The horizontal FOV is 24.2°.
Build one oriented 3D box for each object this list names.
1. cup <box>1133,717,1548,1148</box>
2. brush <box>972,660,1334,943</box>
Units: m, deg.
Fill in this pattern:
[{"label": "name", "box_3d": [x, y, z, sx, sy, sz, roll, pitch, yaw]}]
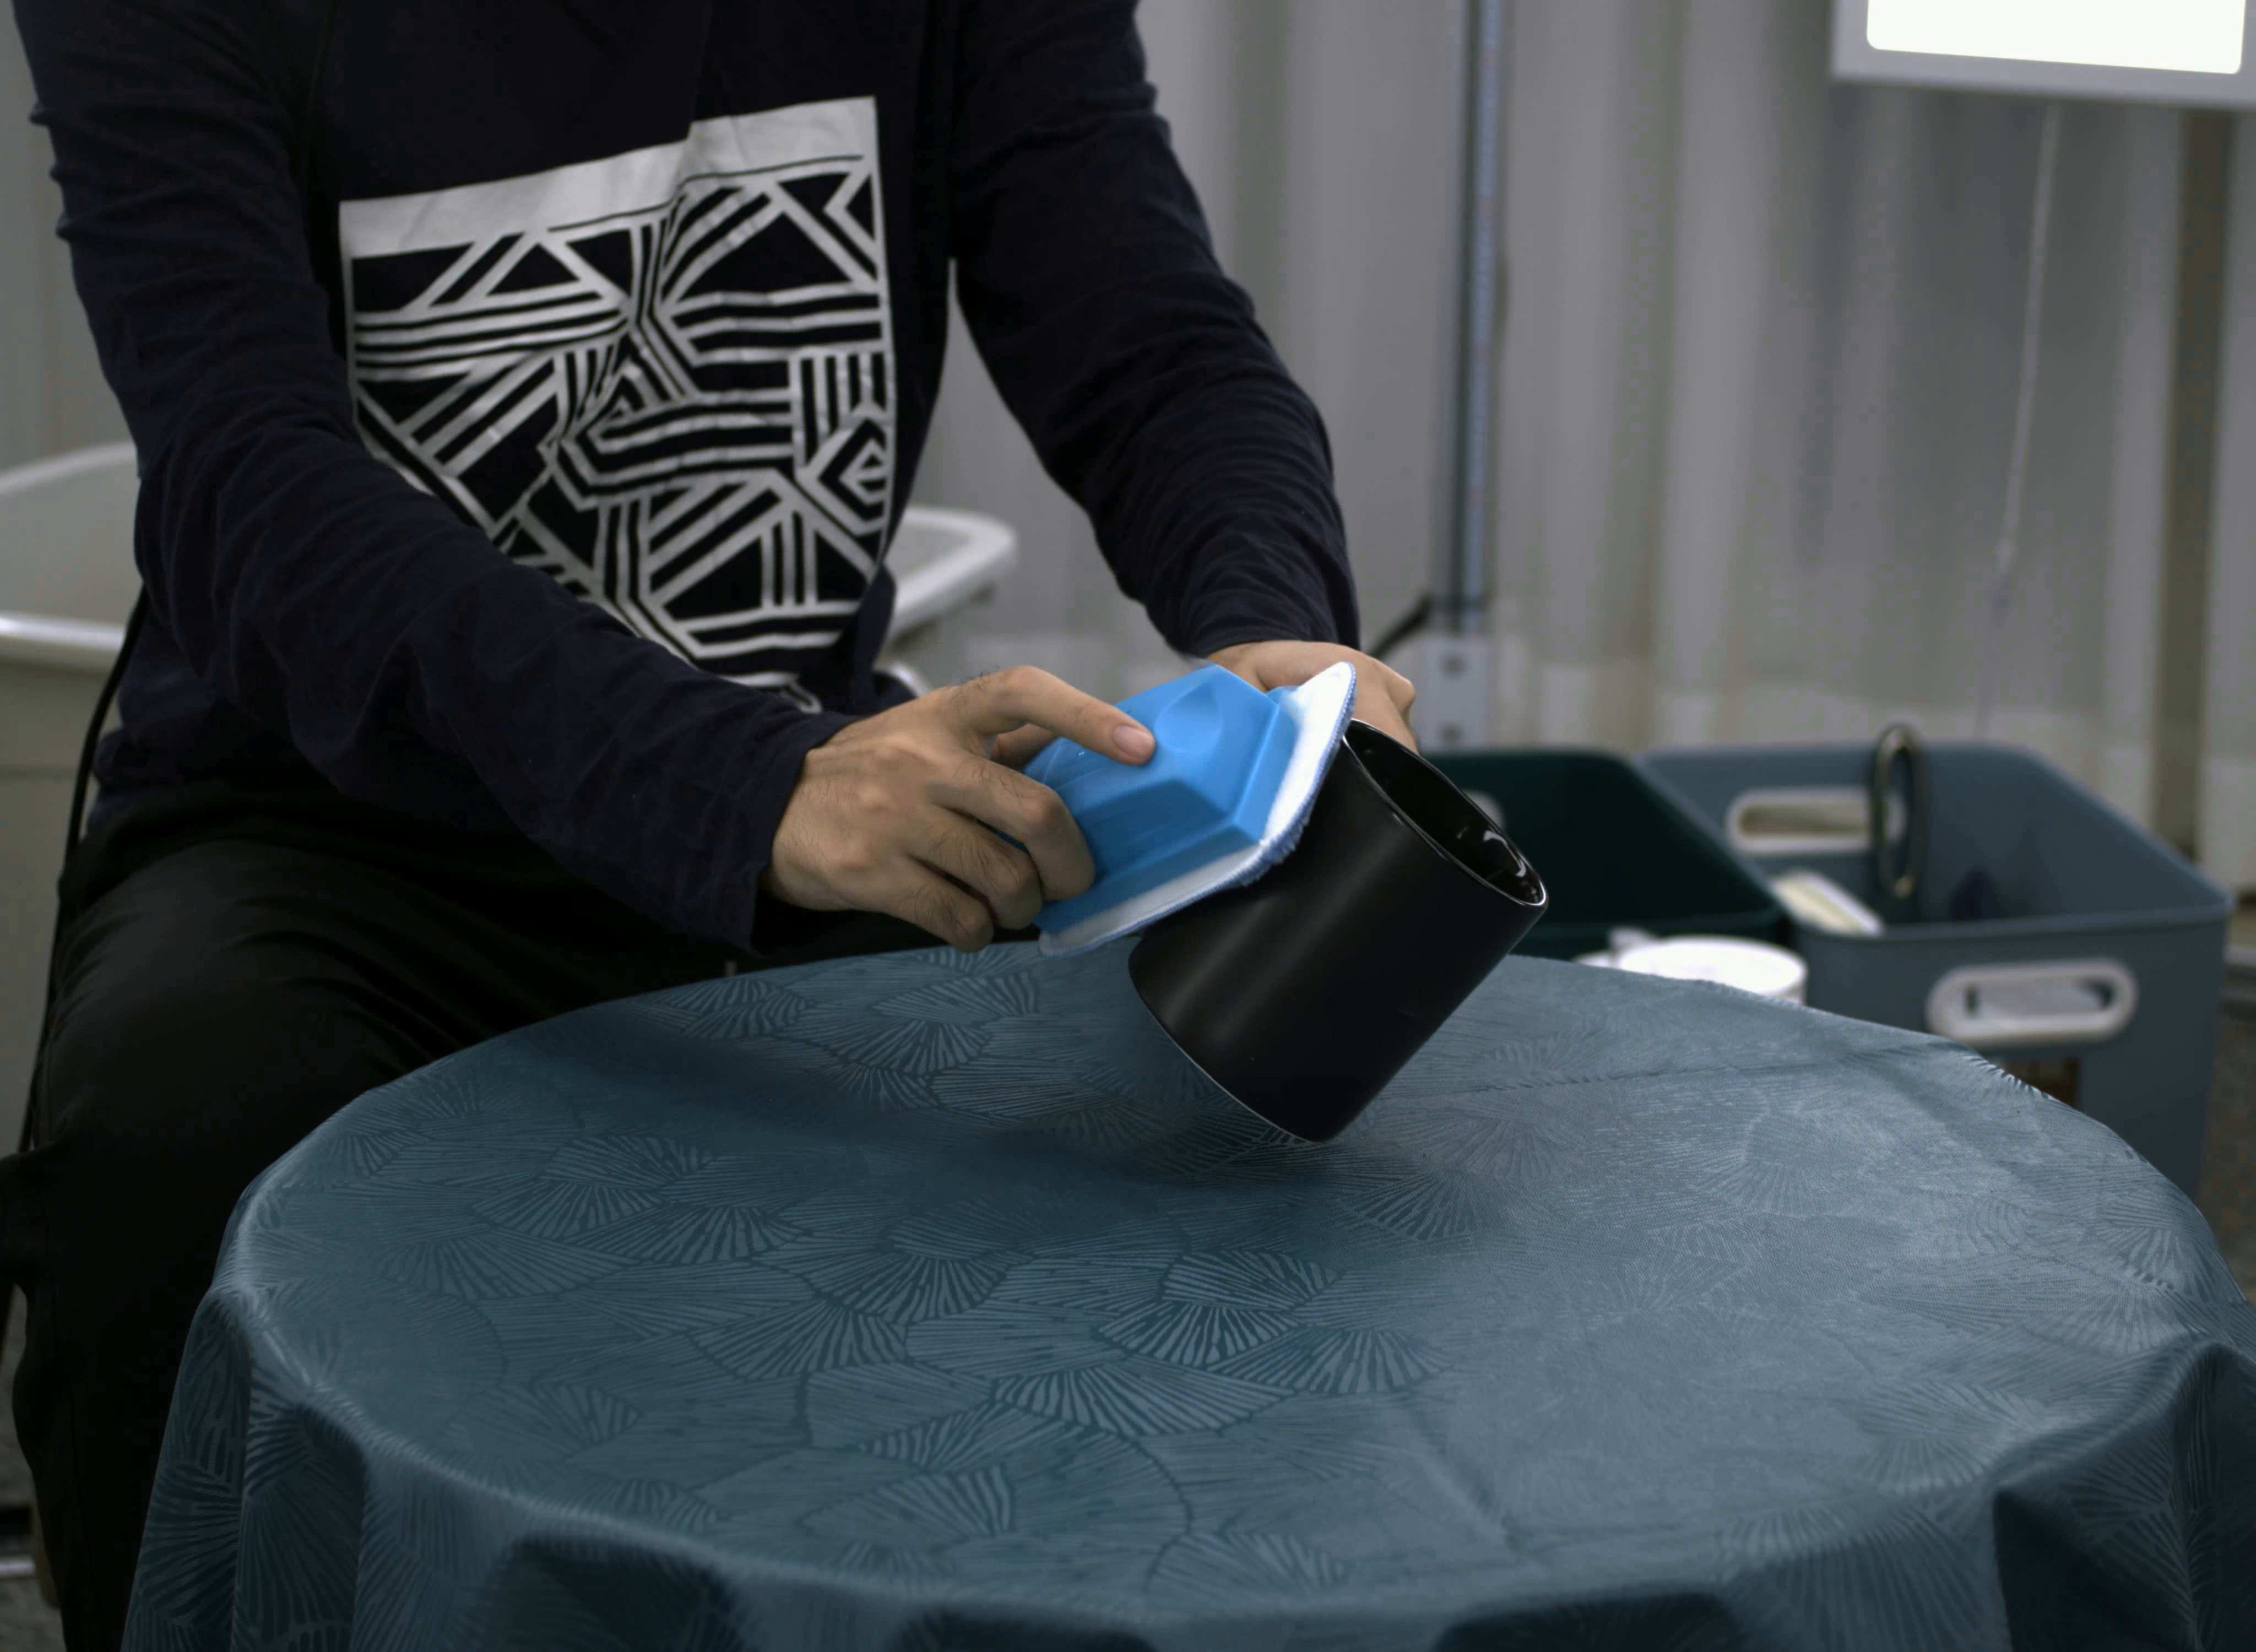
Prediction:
[{"label": "cup", "box_3d": [0.062, 0.026, 1.653, 0.089, 0.105, 0.122, 31, 15, -28]}, {"label": "brush", "box_3d": [0.000, -0.014, 1.644, 0.143, 0.056, 0.083, -16, 42, 53]}]
